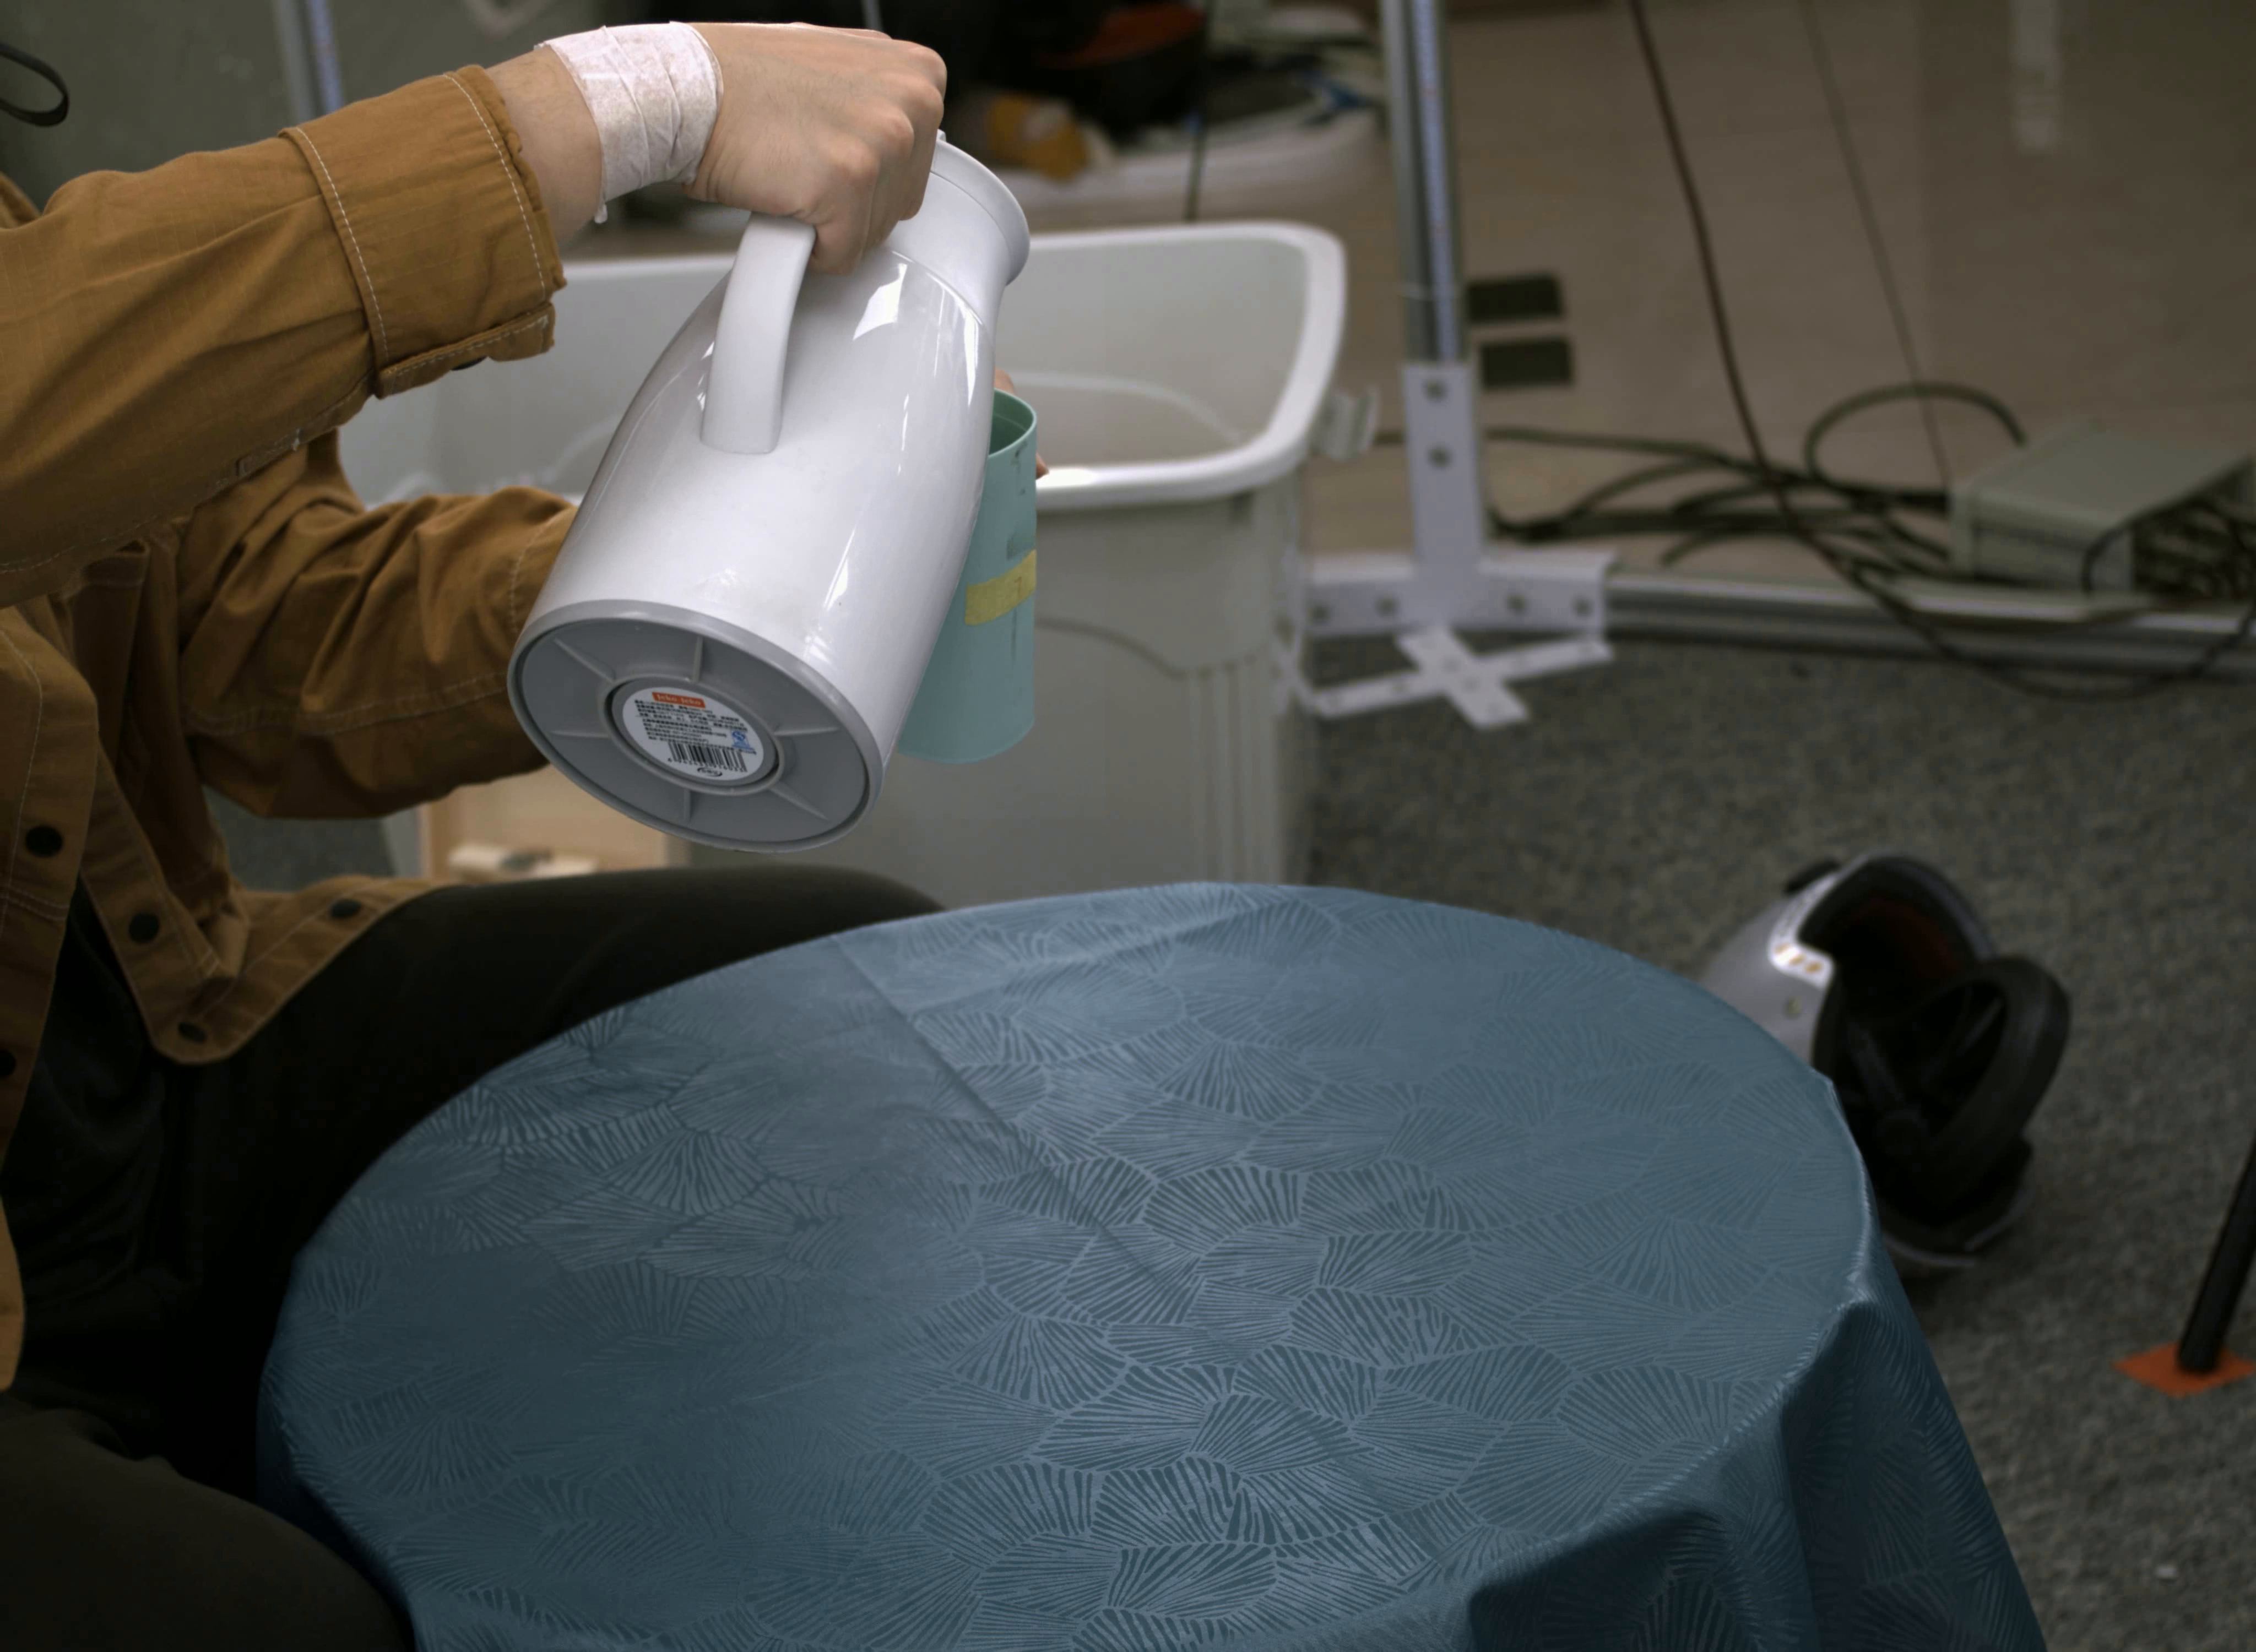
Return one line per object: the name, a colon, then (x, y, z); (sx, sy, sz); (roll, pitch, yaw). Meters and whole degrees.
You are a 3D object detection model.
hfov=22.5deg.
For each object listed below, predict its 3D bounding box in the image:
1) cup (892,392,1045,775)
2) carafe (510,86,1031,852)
cup: (-0.066, -0.093, 2.118); (0.066, 0.135, 0.065); (1, 33, 0)
carafe: (-0.112, -0.139, 1.949); (0.132, 0.170, 0.245); (12, 59, 13)
